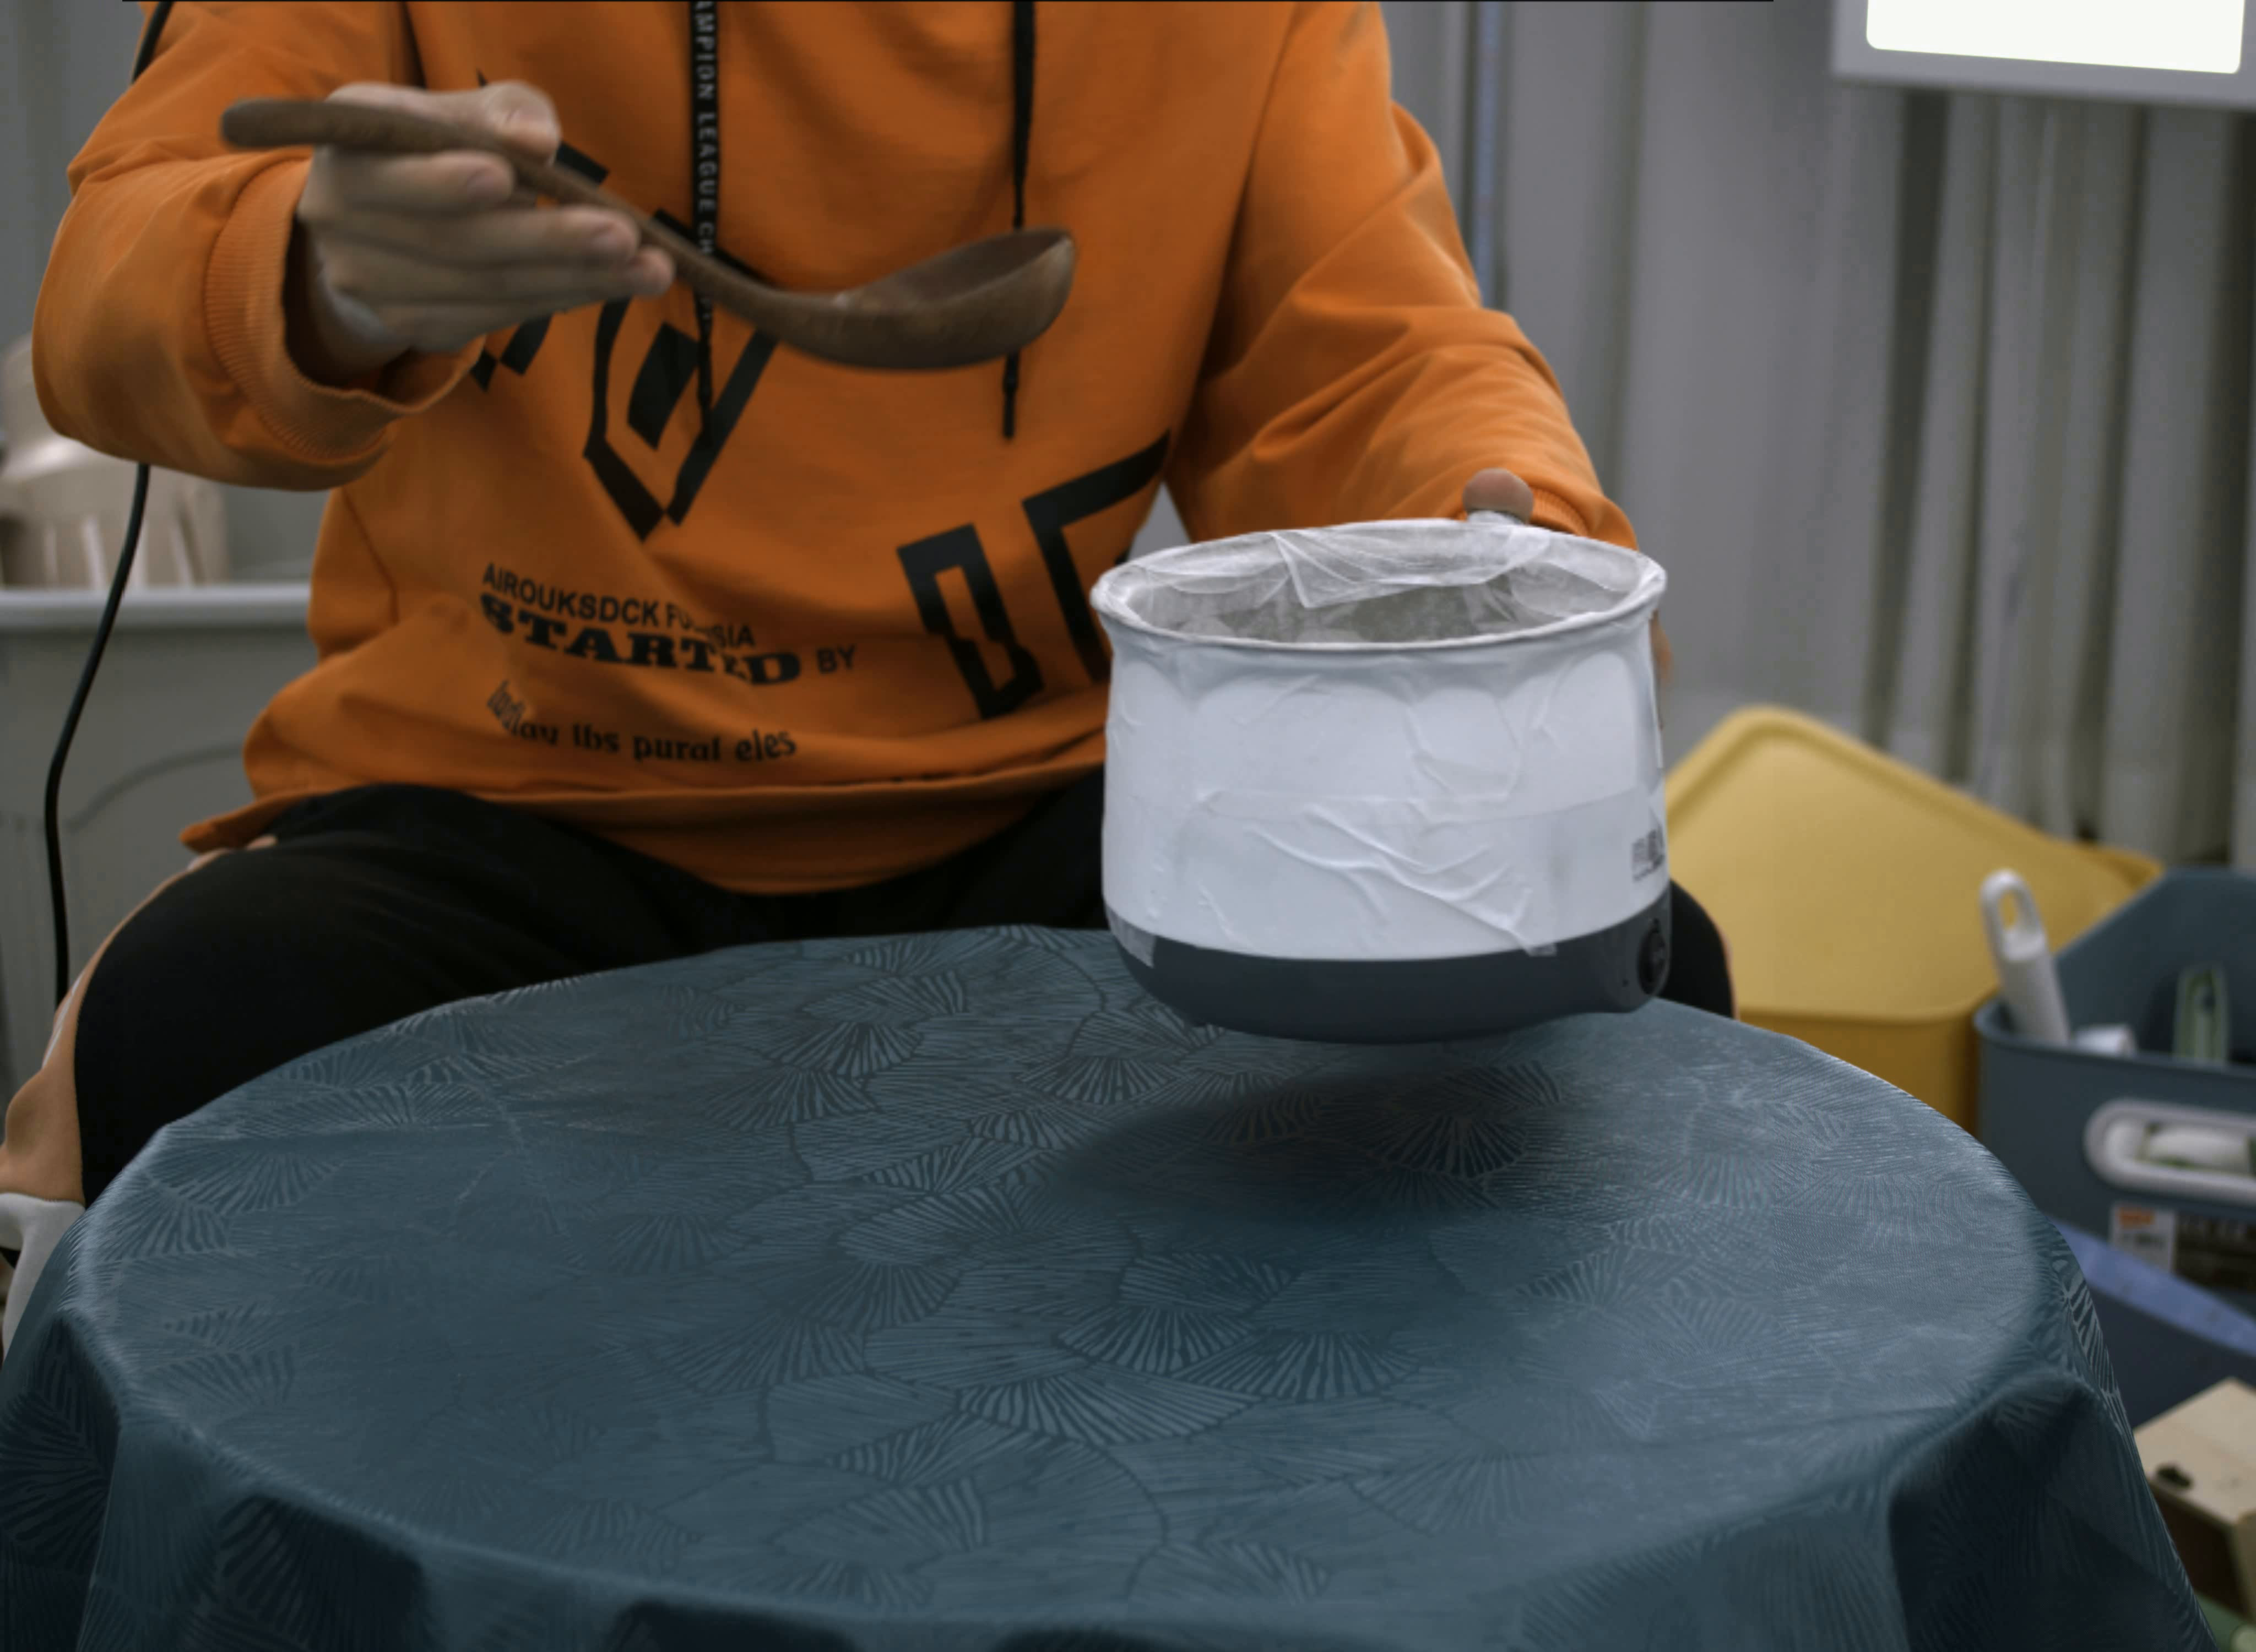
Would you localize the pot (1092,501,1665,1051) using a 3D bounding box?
[{"bbox_3d":[0.089,-0.022,1.660,0.177,0.138,0.234,5,16,22],"label":"pot"}]

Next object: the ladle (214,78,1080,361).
[{"bbox_3d":[-0.138,-0.194,1.557,0.261,0.065,0.076,19,0,-19],"label":"ladle"}]
